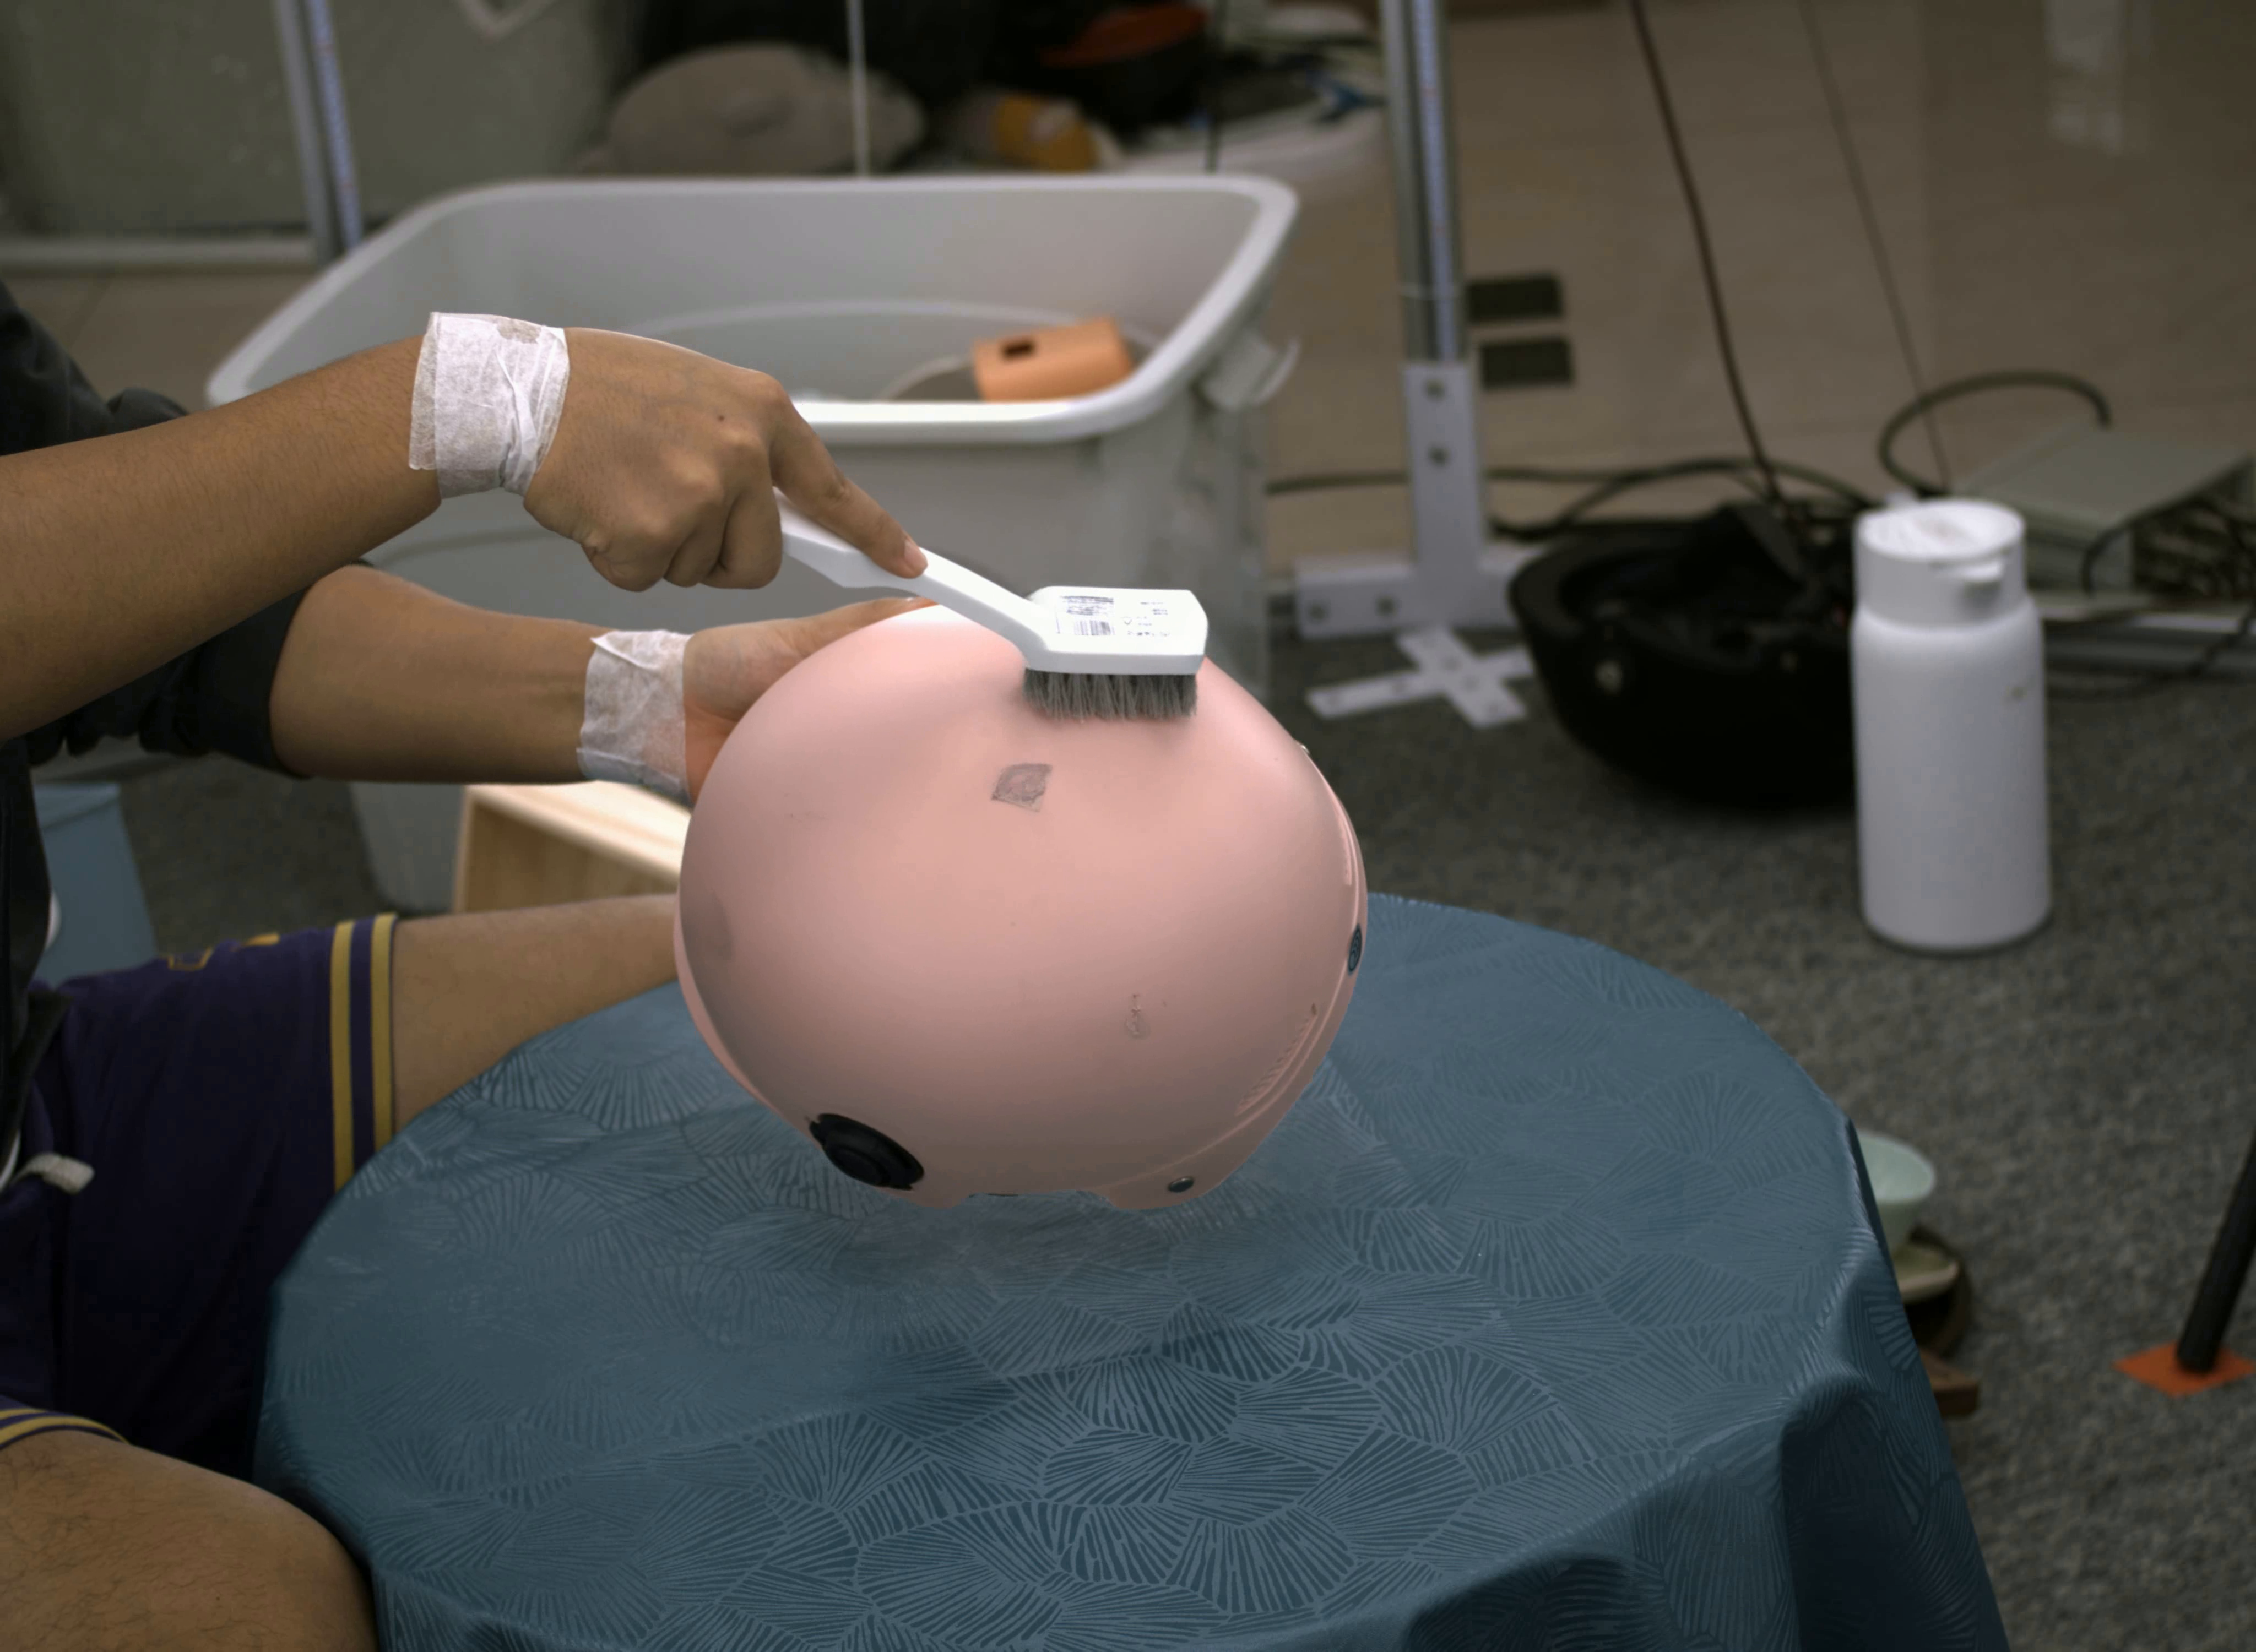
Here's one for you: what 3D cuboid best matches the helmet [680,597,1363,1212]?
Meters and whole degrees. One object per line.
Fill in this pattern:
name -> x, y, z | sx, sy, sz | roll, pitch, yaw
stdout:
helmet -> -0.052, 0.013, 2.064 | 0.265, 0.161, 0.232 | 10, 73, 14

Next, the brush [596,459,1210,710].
brush -> -0.079, -0.081, 1.952 | 0.244, 0.051, 0.034 | 12, 44, -27
